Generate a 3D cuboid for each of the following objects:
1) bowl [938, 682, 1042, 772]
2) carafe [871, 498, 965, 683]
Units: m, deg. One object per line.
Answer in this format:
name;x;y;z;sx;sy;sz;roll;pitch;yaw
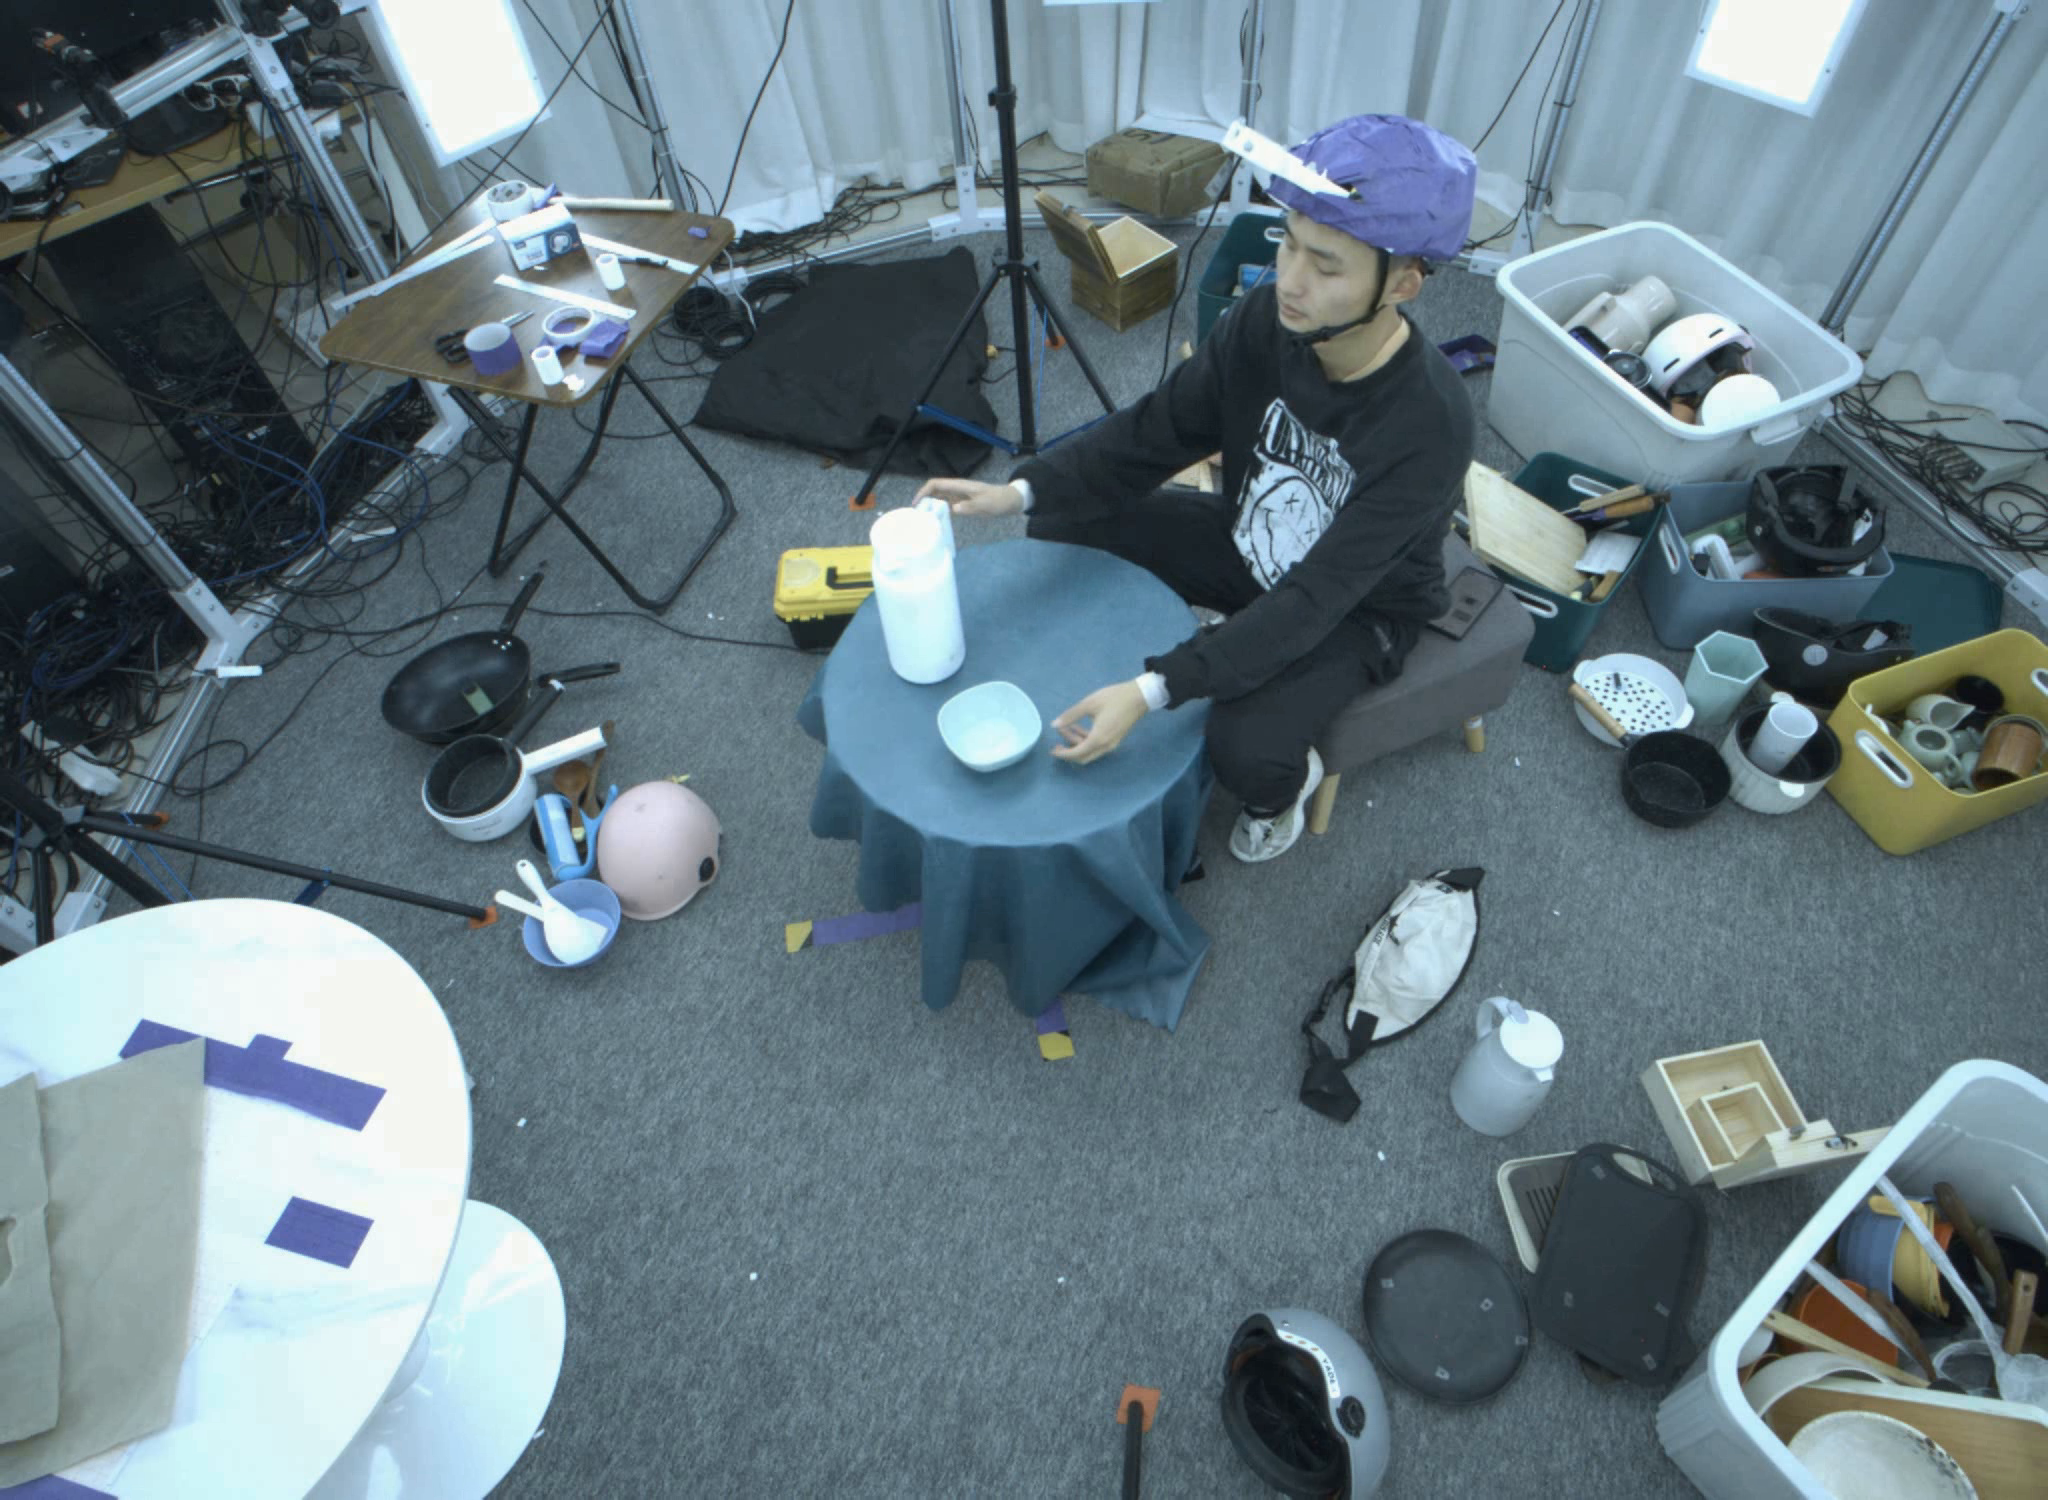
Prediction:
bowl;-0.048;-0.023;1.769;0.151;0.059;0.150;0;54;1
carafe;-0.151;-0.235;1.791;0.122;0.272;0.172;14;56;16
